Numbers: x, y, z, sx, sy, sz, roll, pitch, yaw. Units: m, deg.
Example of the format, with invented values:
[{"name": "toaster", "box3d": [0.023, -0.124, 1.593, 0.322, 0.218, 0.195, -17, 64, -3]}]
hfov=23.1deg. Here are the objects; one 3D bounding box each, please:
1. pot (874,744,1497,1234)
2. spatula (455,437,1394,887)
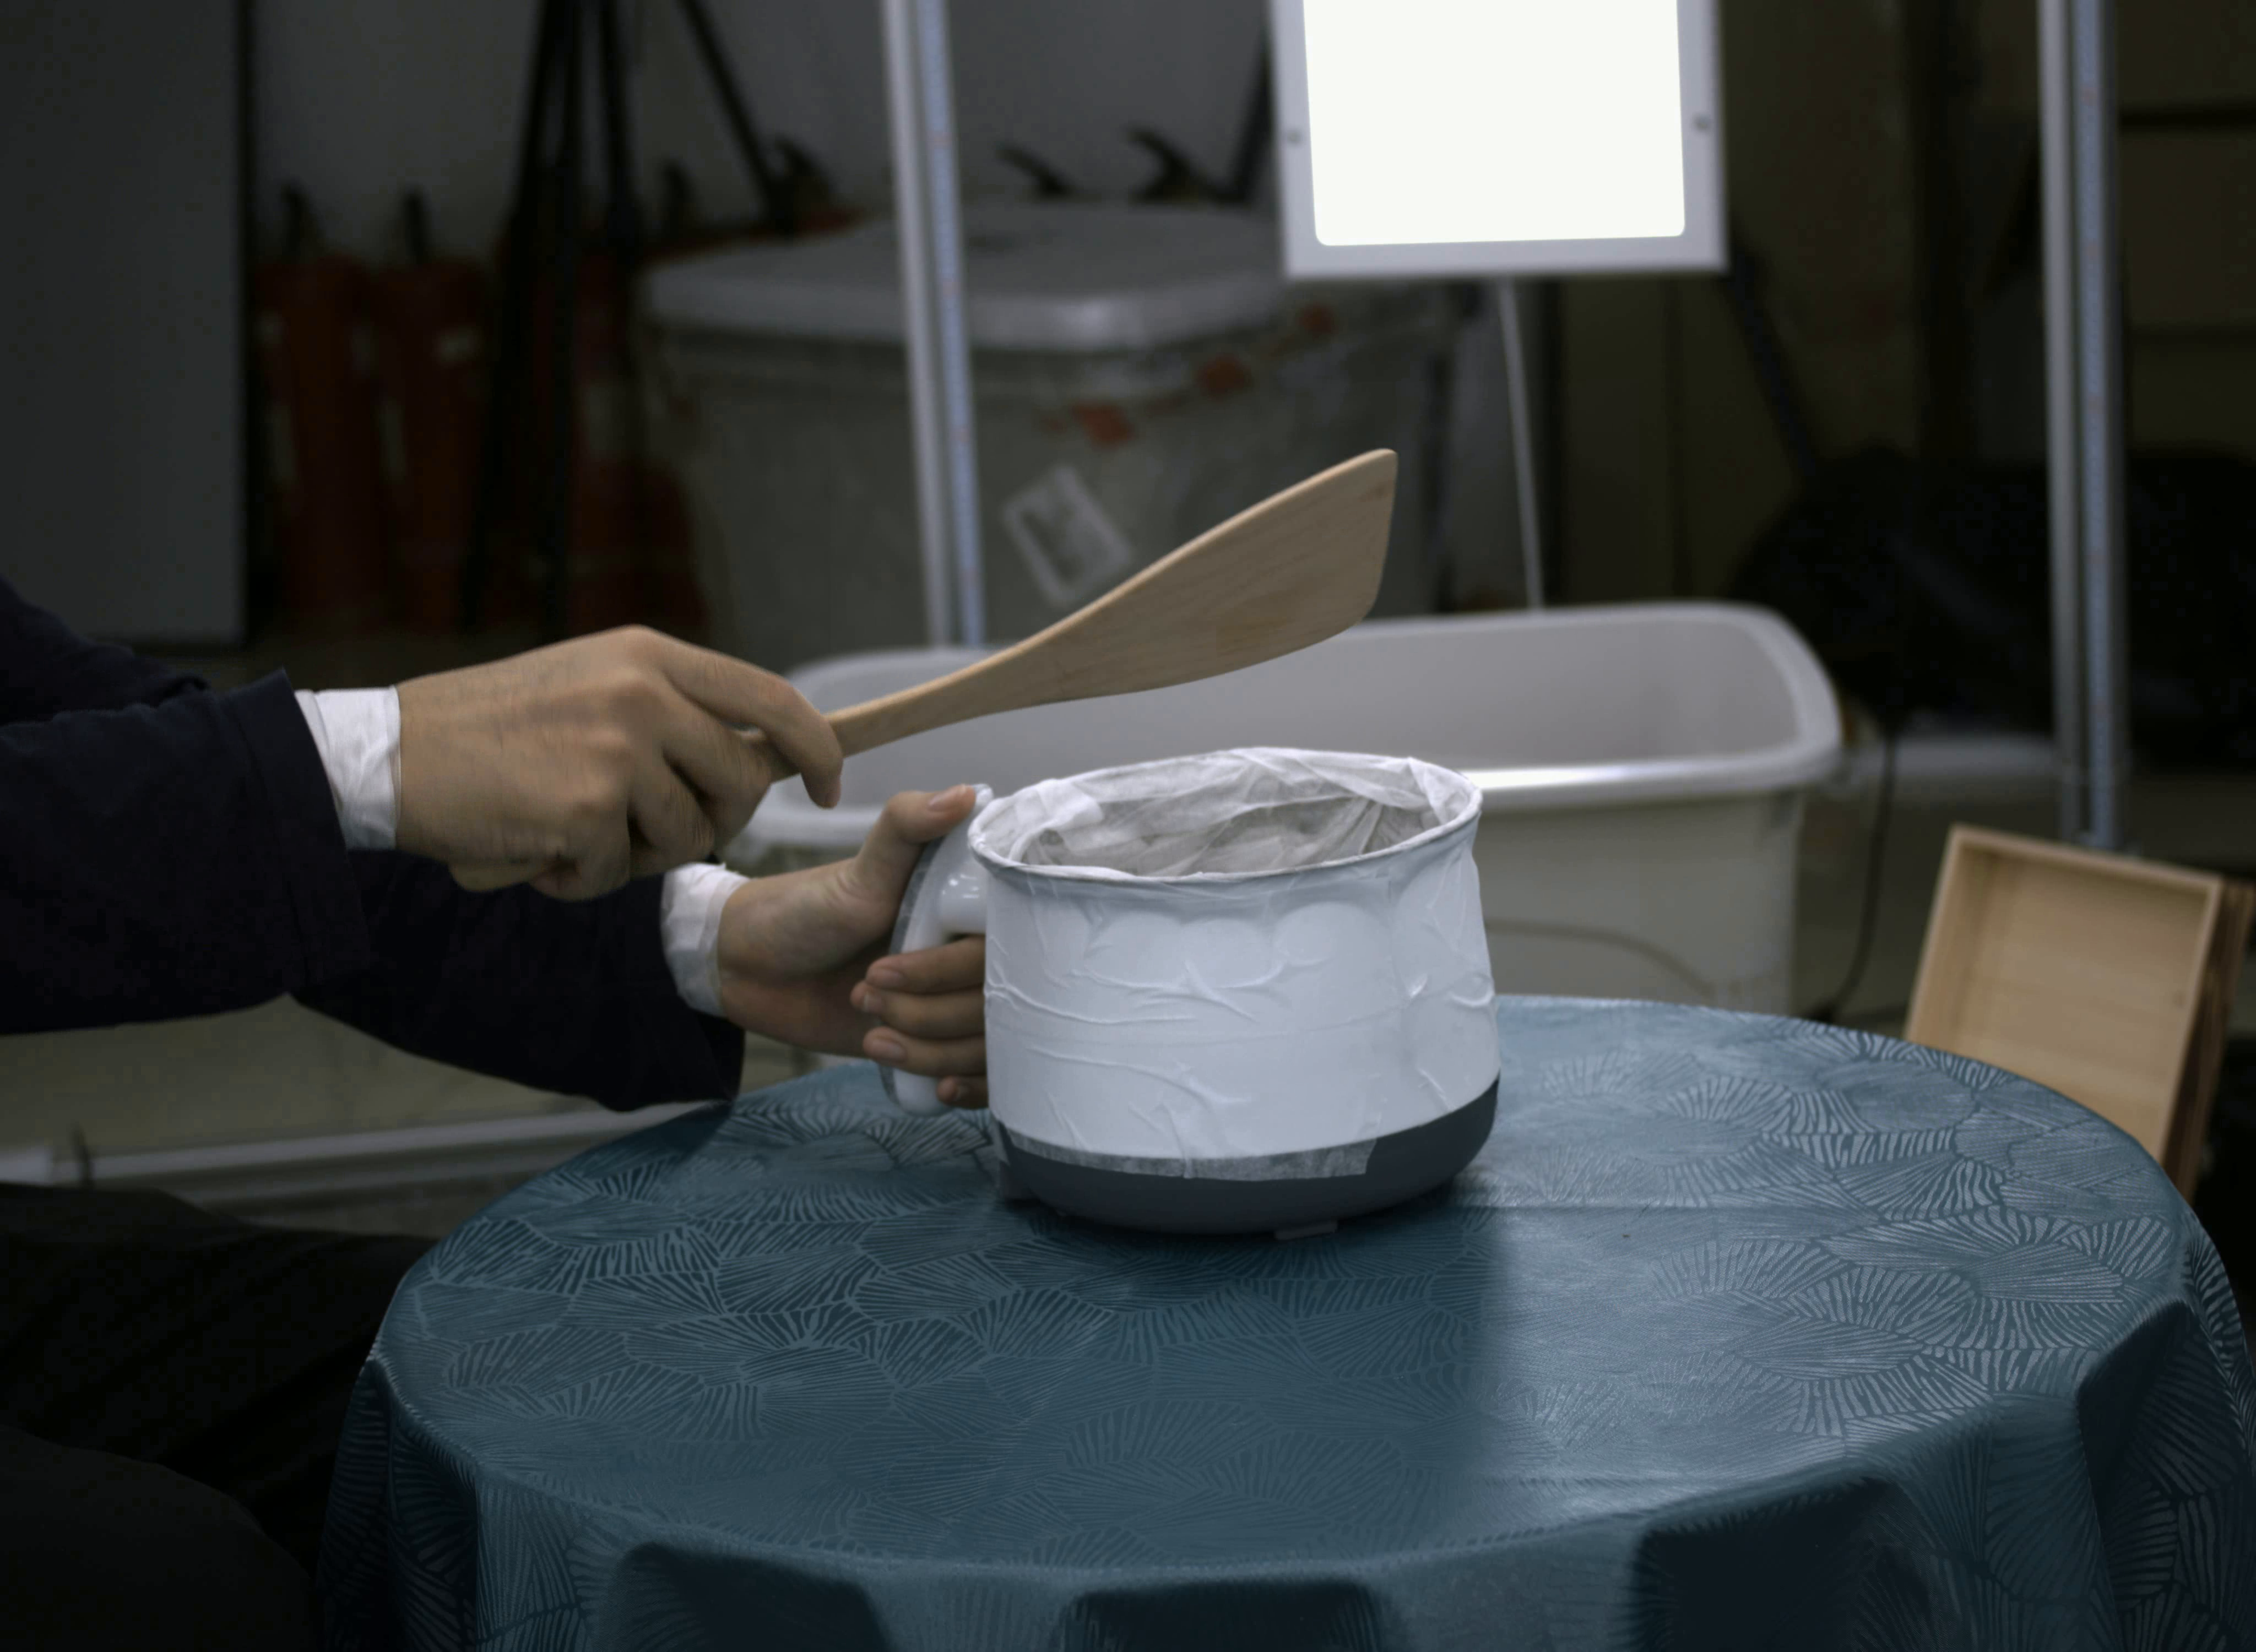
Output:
[{"name": "pot", "box3d": [0.014, 0.052, 1.900, 0.238, 0.137, 0.174, 5, 15, 30]}, {"name": "spatula", "box3d": [-0.060, -0.043, 1.757, 0.325, 0.080, 0.016, -19, 50, -8]}]
